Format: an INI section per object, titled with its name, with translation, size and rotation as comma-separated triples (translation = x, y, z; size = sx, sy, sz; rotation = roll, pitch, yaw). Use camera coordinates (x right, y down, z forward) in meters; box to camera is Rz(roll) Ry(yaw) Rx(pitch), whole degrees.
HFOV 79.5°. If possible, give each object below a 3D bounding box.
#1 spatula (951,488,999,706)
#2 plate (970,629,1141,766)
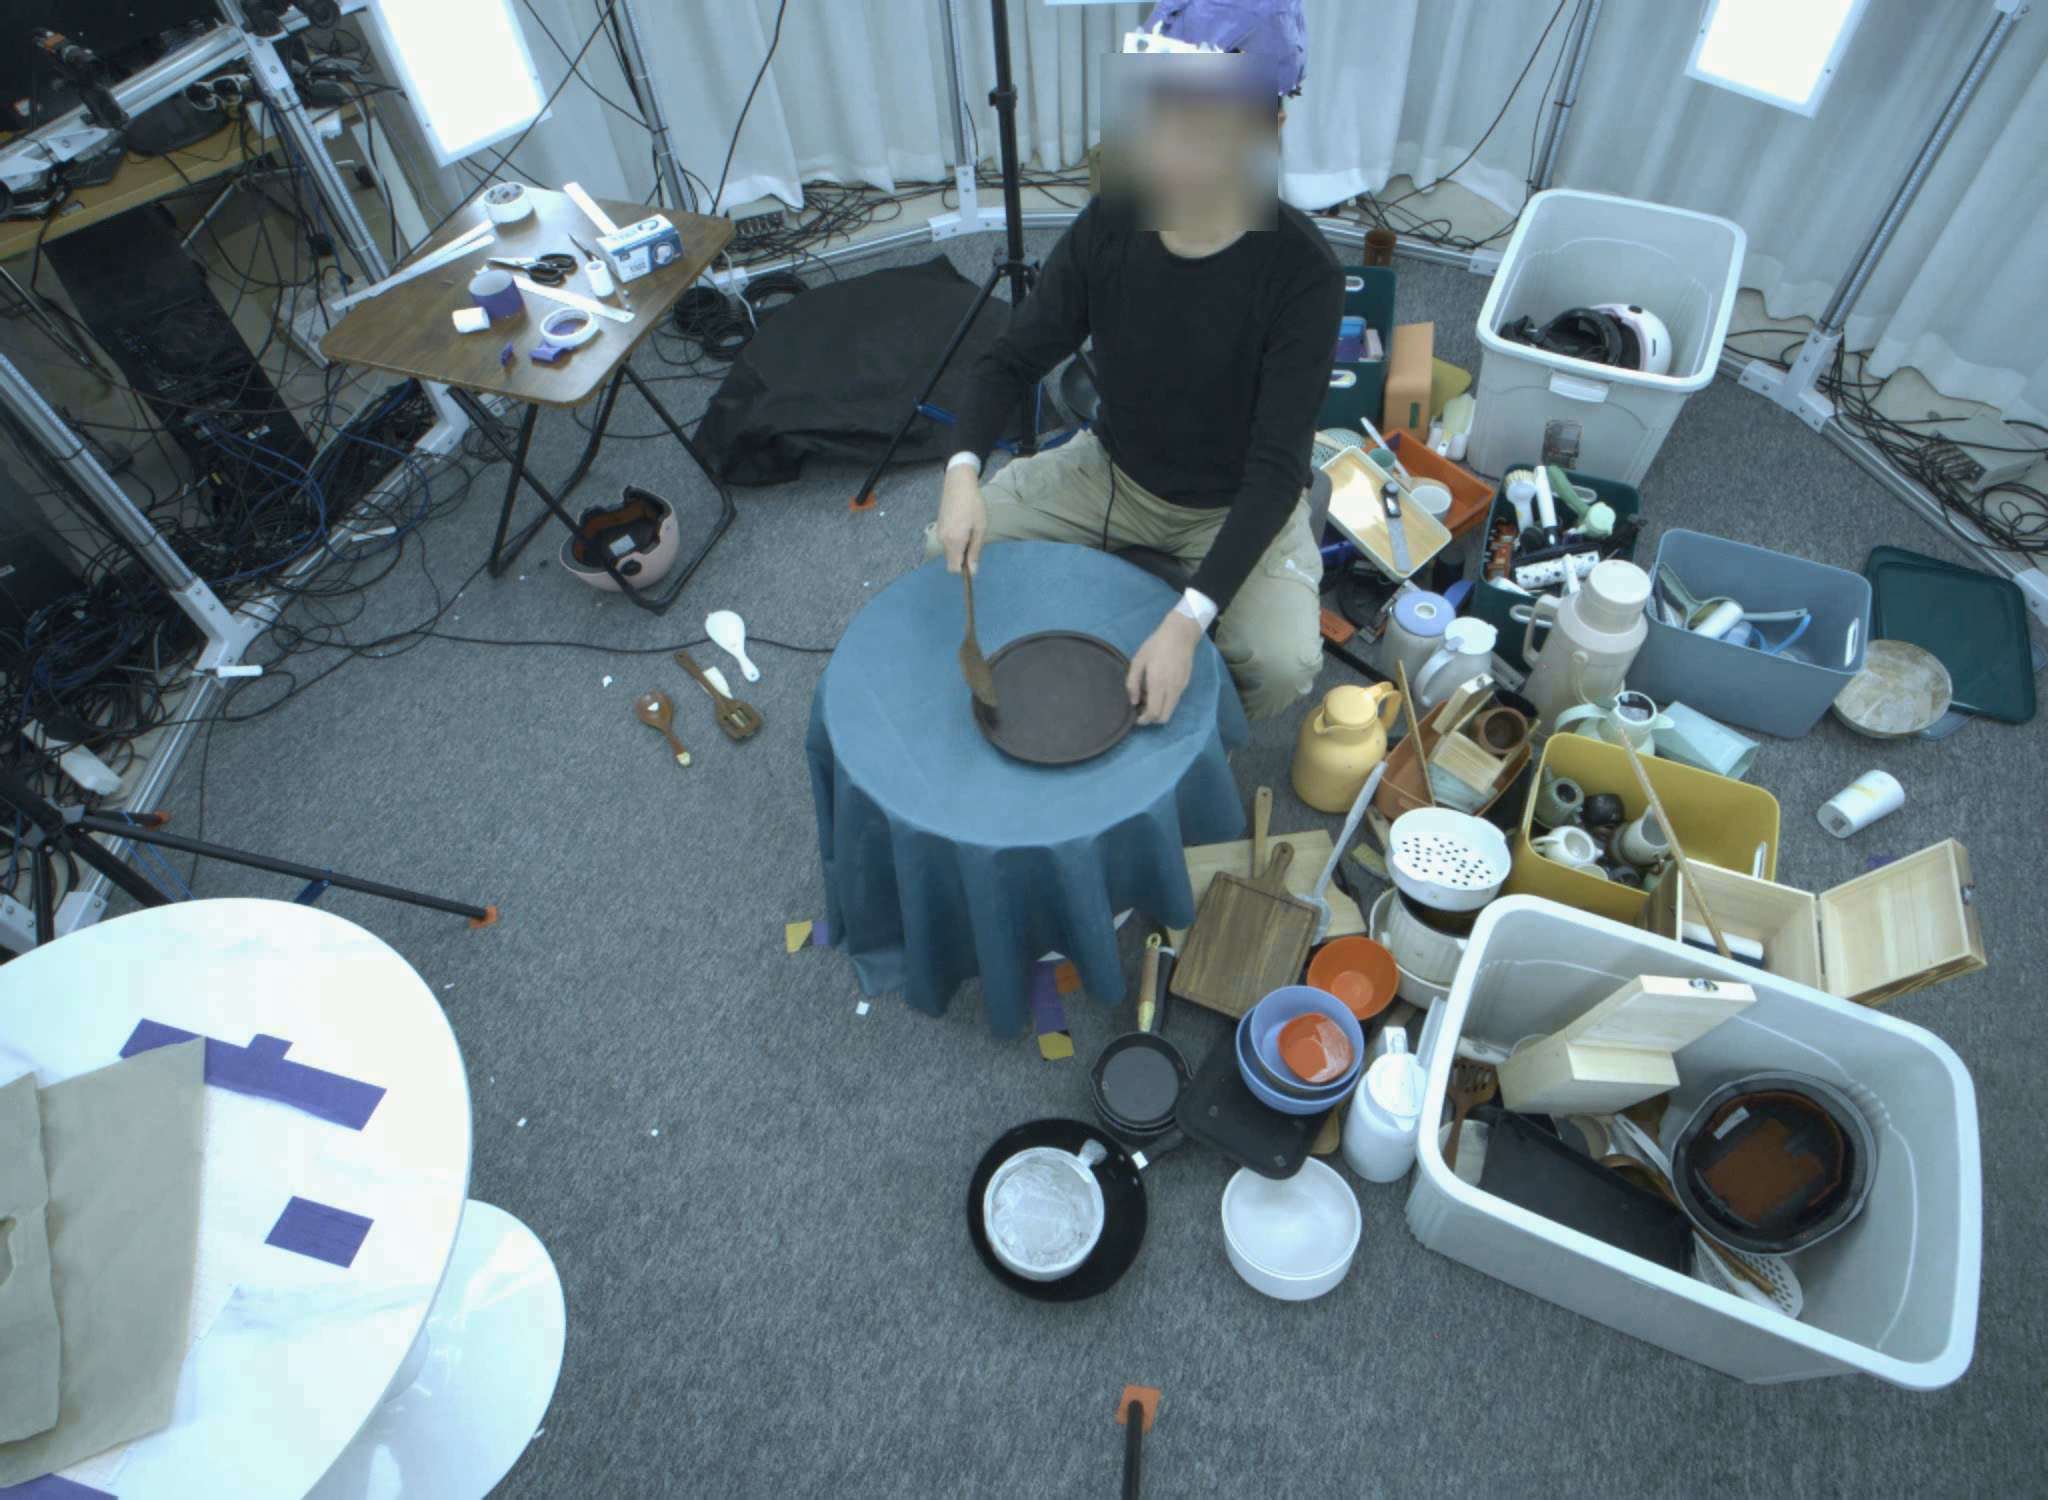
[spatula]
translation = -0.083, -0.240, 1.830
size = 0.015, 0.098, 0.382
rotation = -18, 63, 20
[plate]
translation = 0.046, -0.079, 1.828
size = 0.254, 0.029, 0.252
rotation = -1, 54, 3
